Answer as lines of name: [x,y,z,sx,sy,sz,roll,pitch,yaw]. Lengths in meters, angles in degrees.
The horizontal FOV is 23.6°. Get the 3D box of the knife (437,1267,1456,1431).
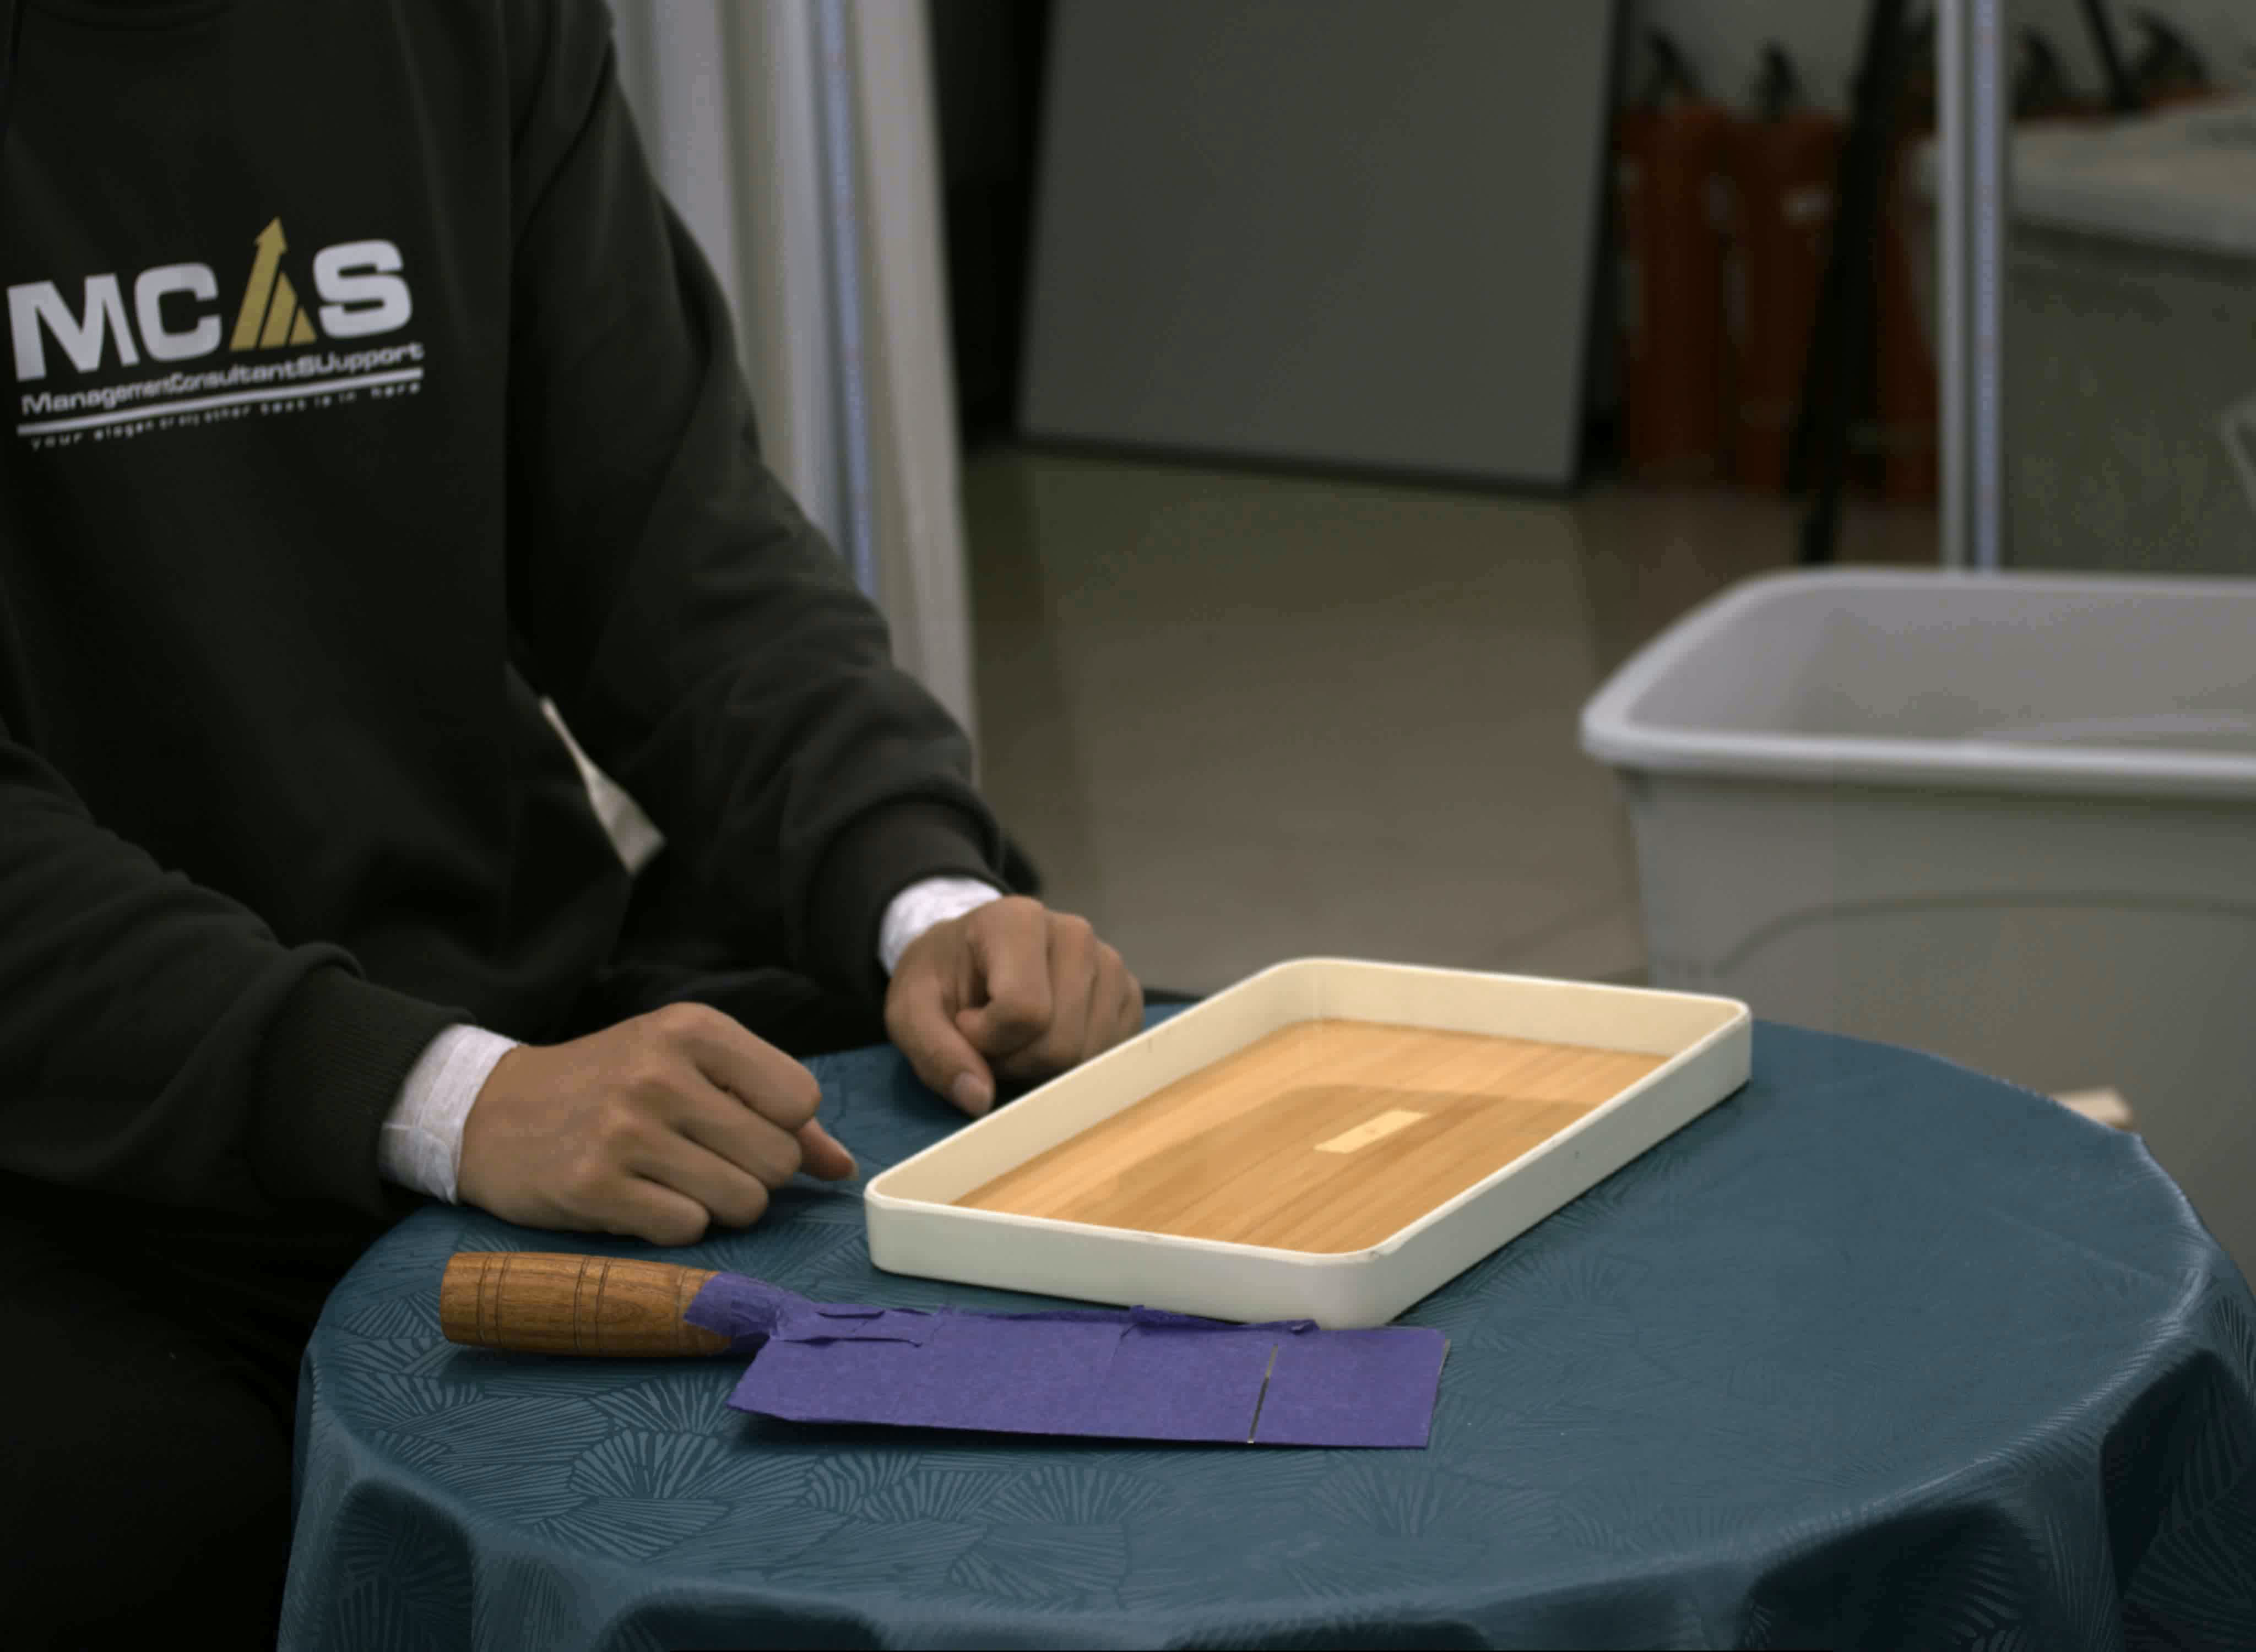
knife: [-0.060,0.155,1.594,0.313,0.032,0.103,-1,13,11]

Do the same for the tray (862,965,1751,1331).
tray: [0.065,0.102,1.780,0.192,0.028,0.295,4,15,32]
